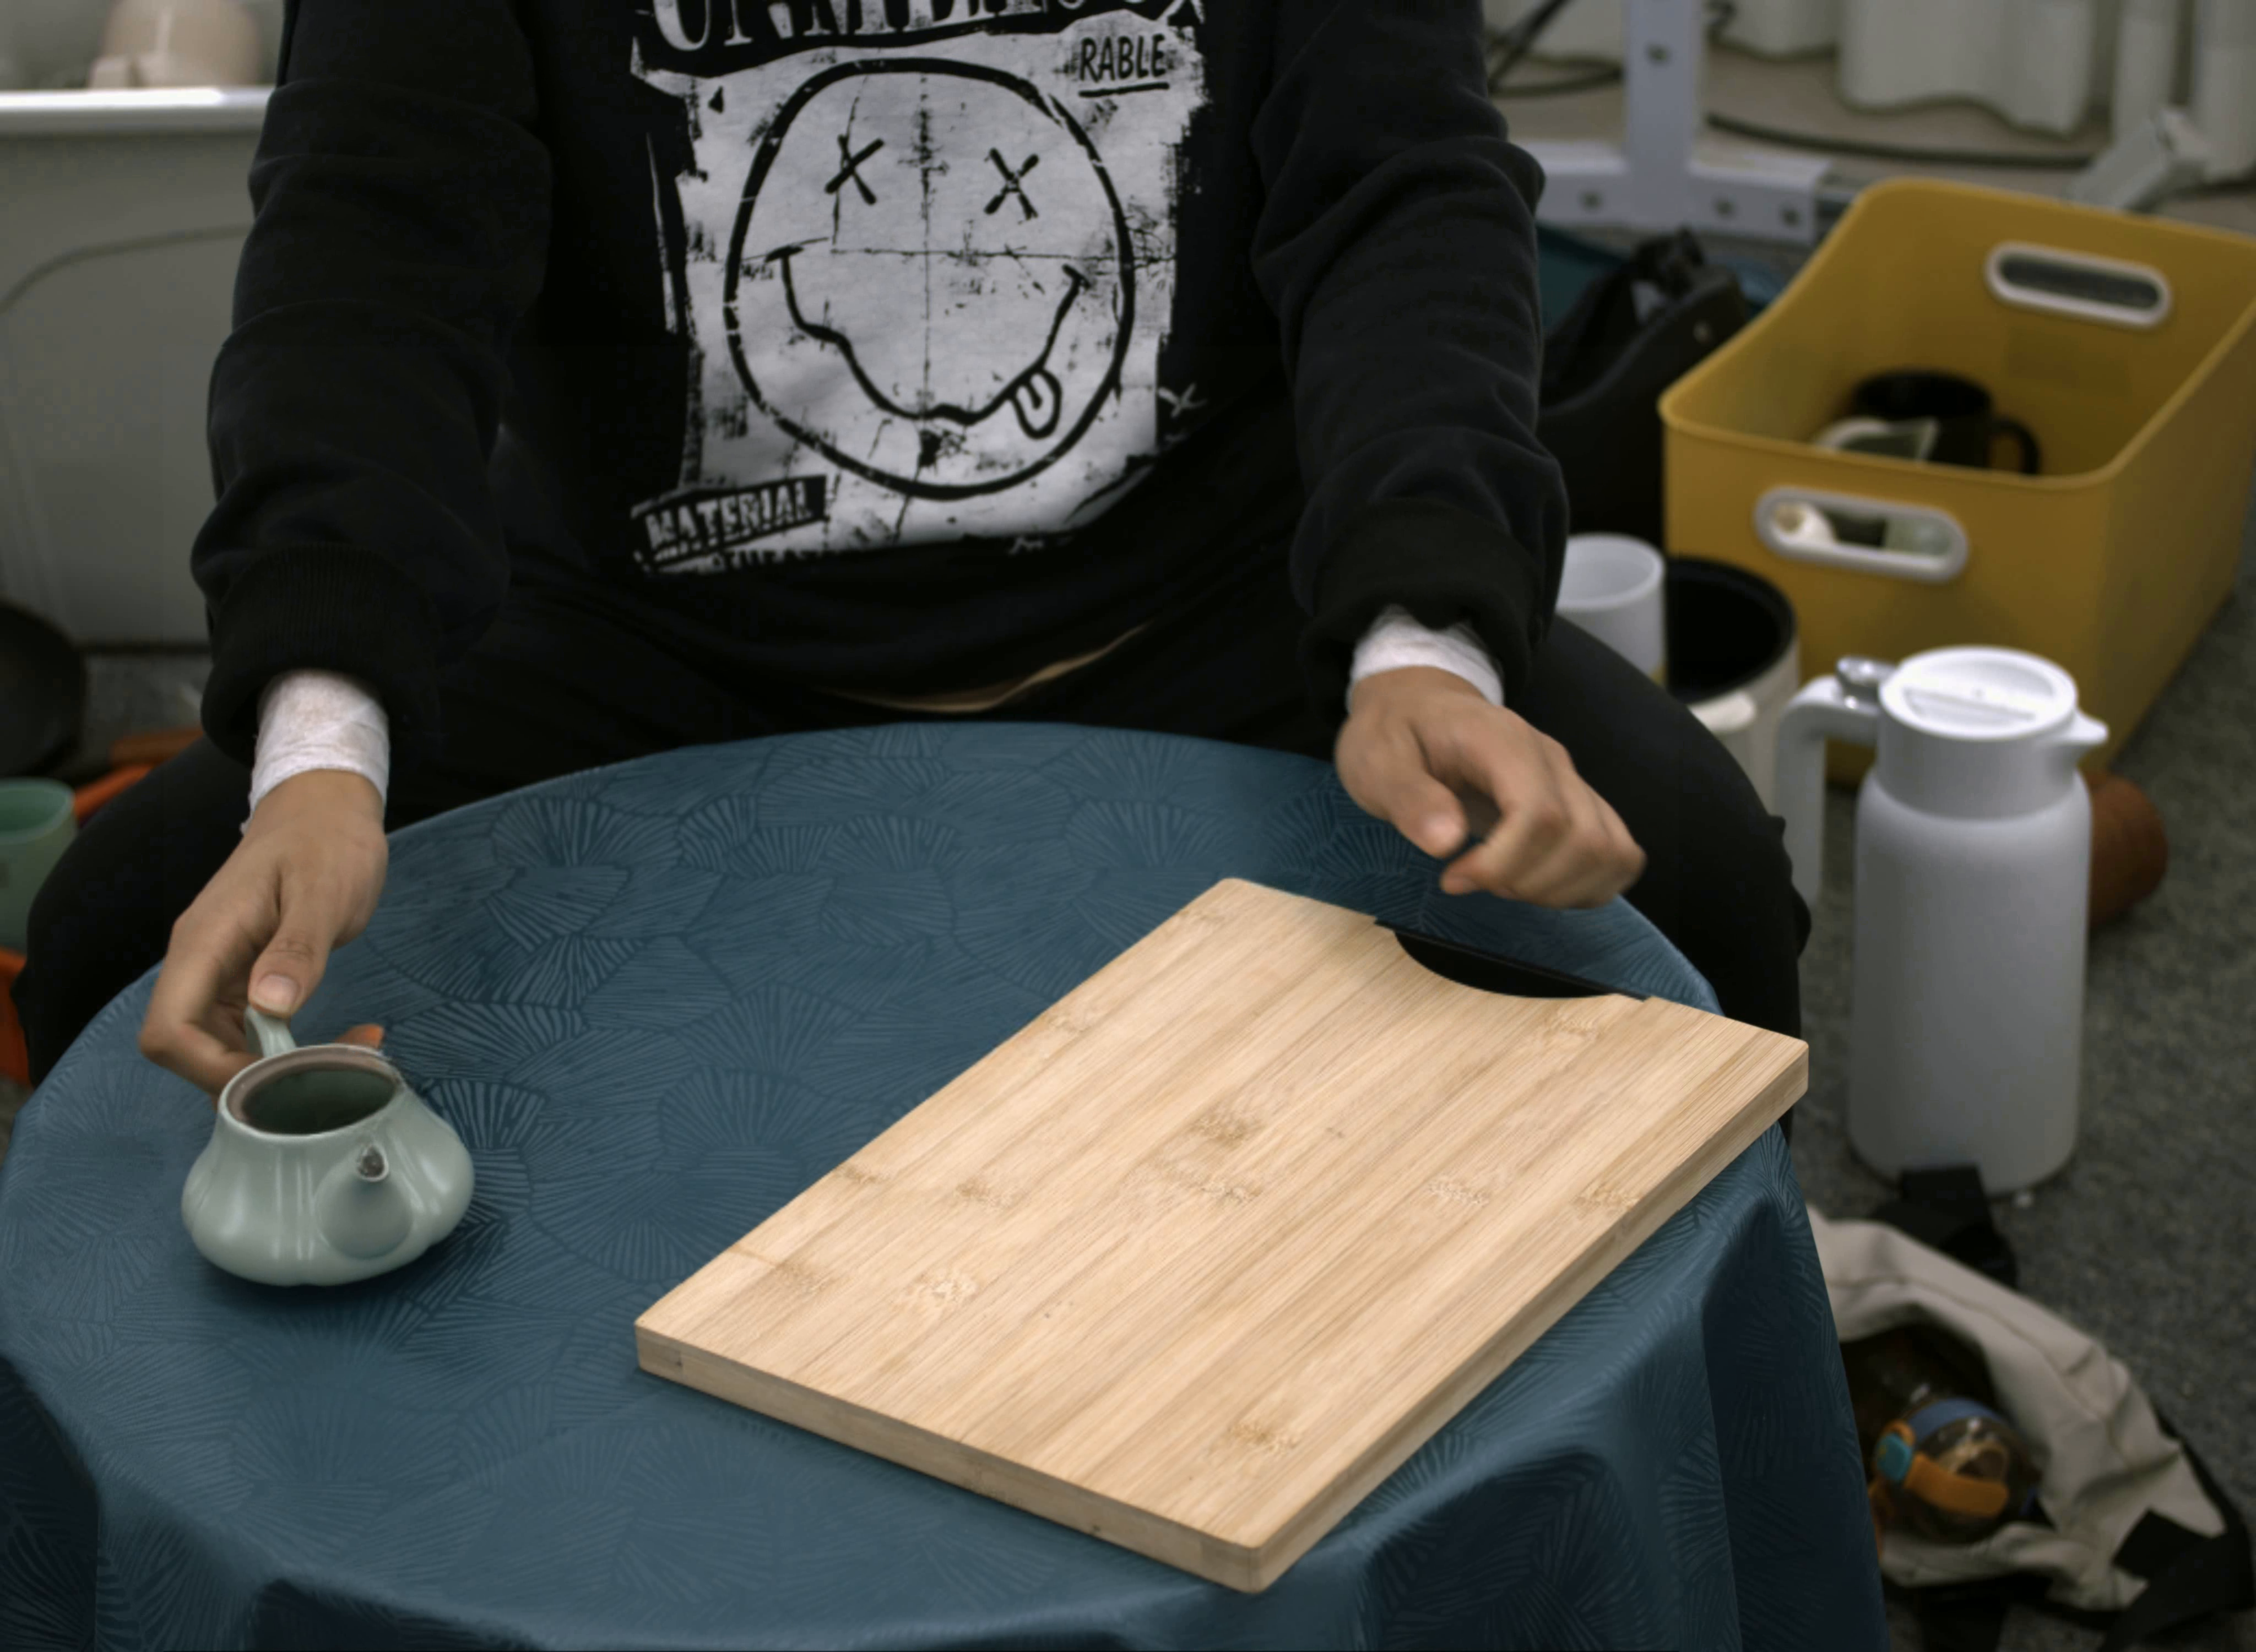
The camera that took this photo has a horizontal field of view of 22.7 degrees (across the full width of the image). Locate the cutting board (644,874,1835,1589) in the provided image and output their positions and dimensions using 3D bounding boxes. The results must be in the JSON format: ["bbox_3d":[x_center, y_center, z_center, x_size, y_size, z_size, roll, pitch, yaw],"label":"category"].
[{"bbox_3d":[0.041,0.121,1.838,0.249,0.023,0.354,15,32,30],"label":"cutting board"}]

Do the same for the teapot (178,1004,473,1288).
[{"bbox_3d":[-0.267,0.108,1.846,0.097,0.061,0.137,-17,31,-23],"label":"teapot"}]
